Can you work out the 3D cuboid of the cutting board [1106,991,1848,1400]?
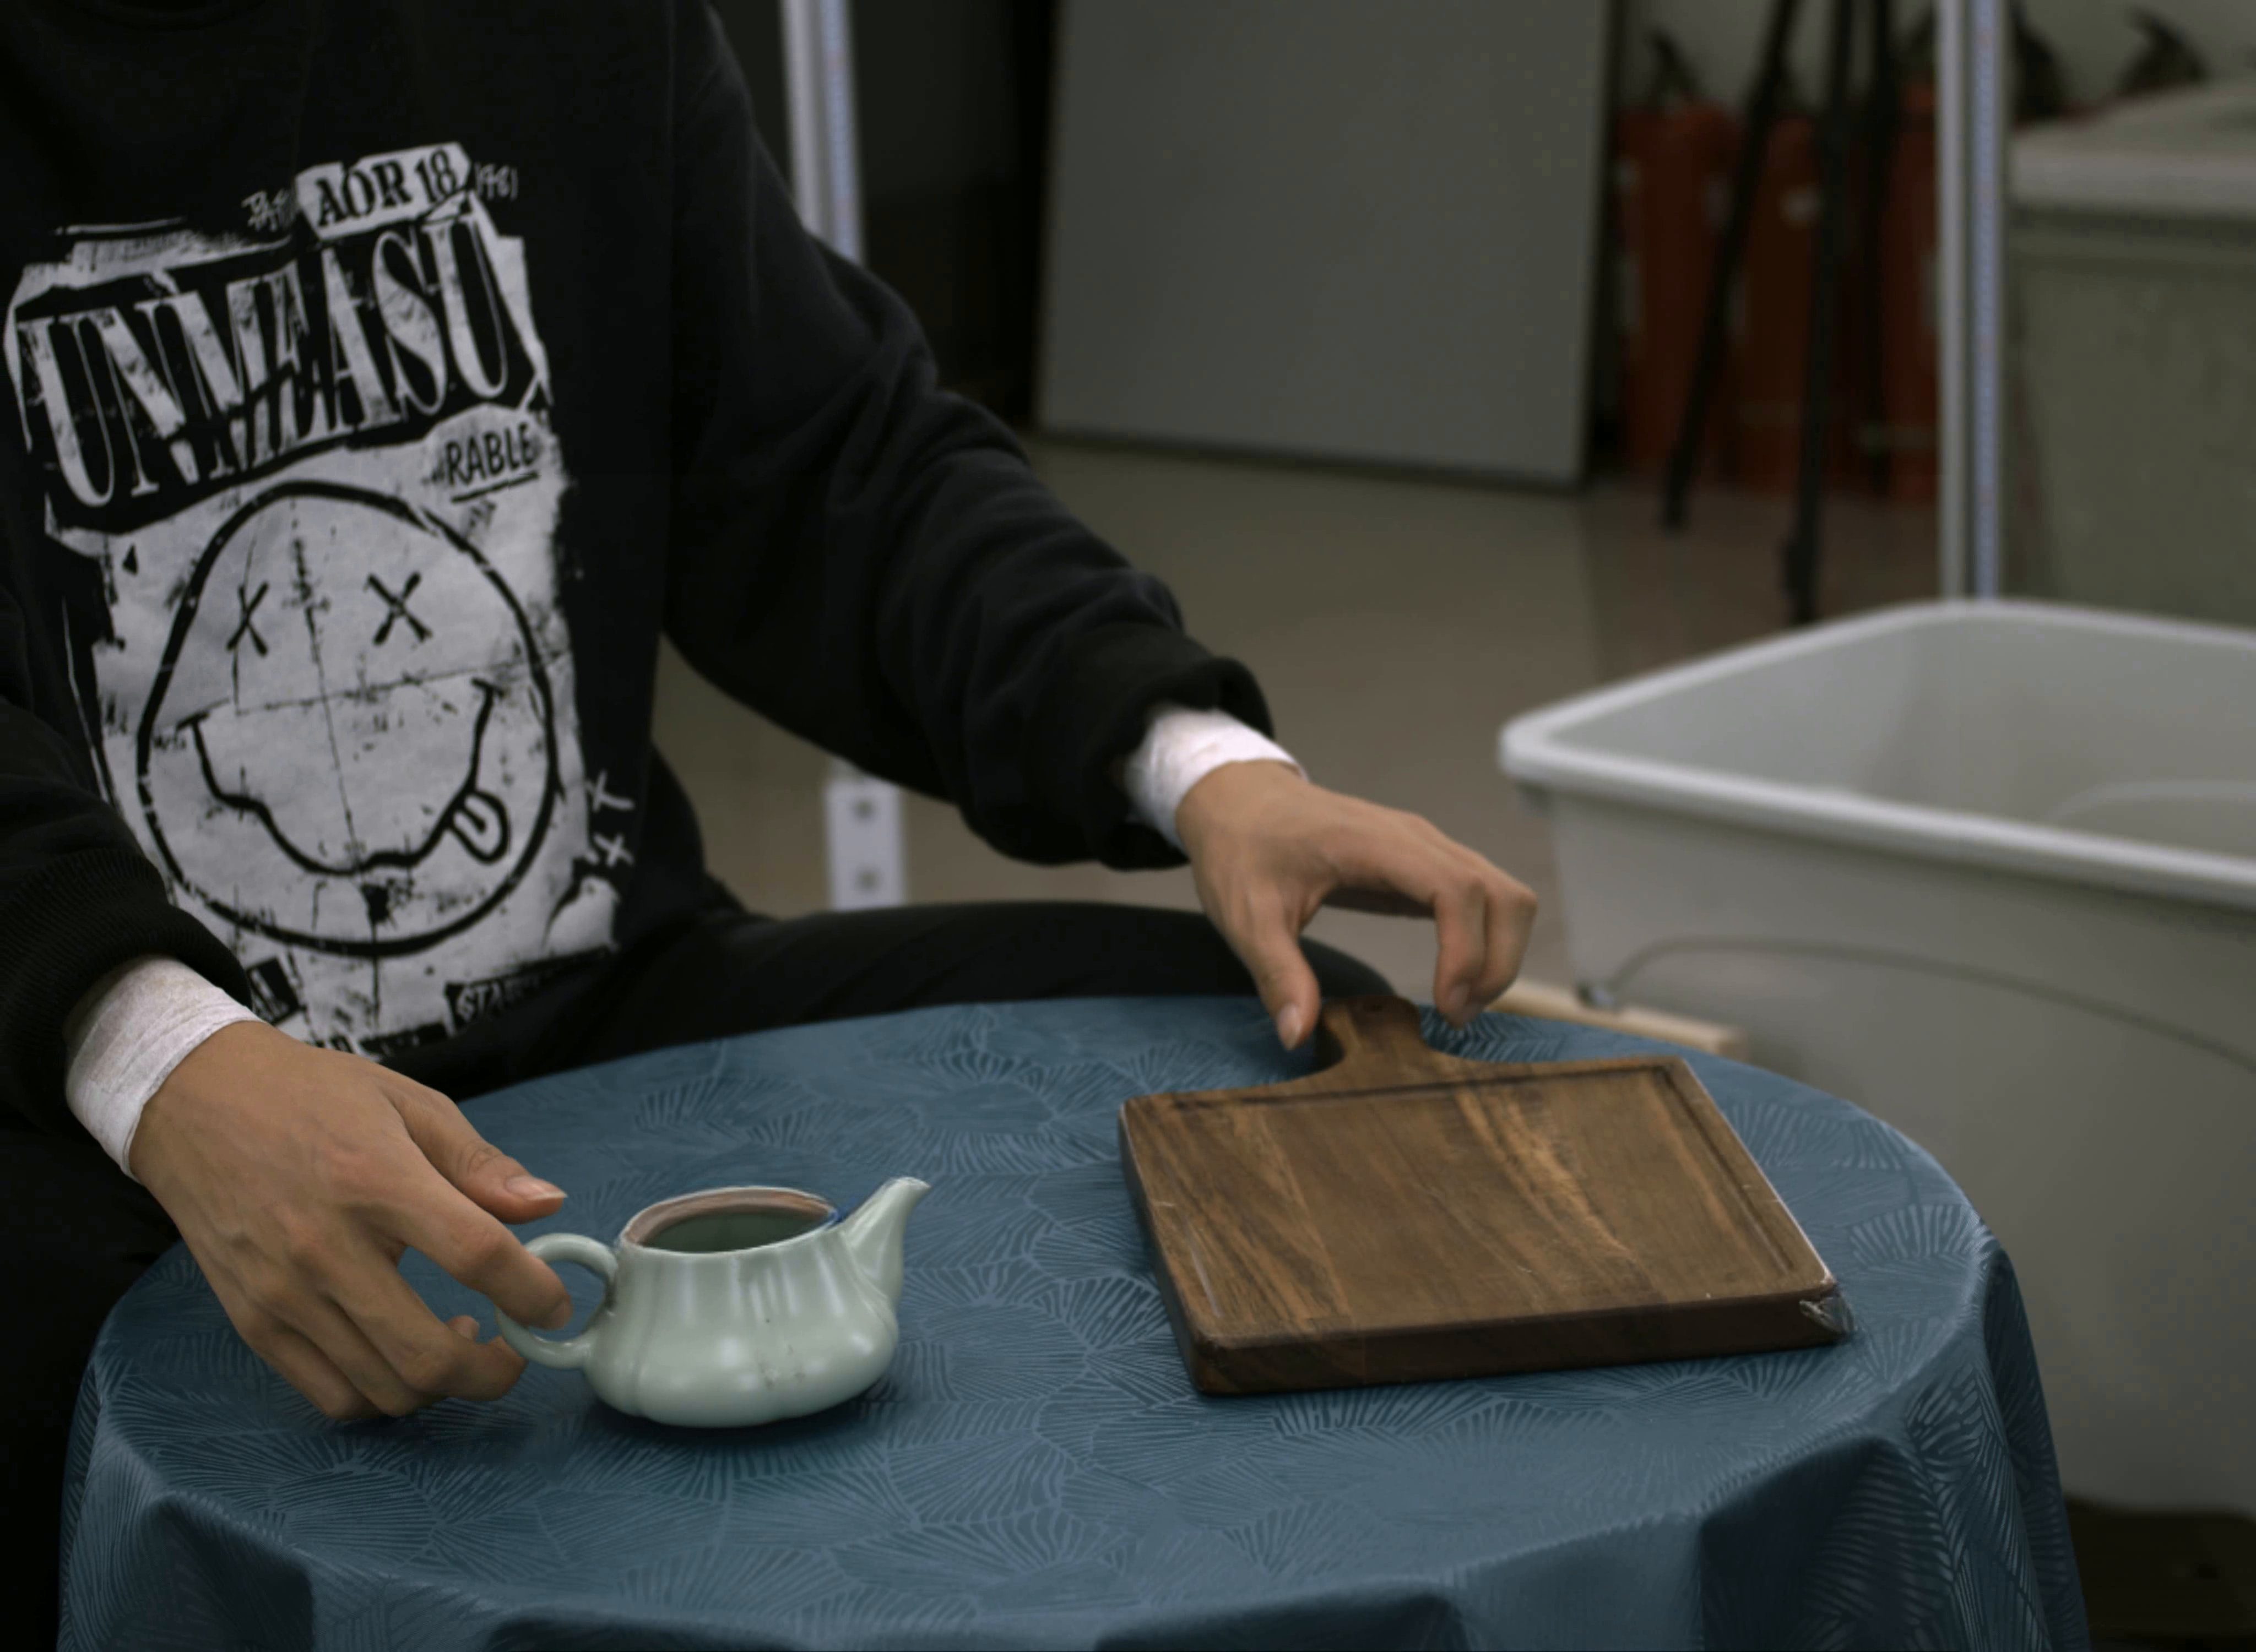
[{"bbox_3d":[0.098,0.110,1.744,0.198,0.023,0.353,-5,14,-5],"label":"cutting board"}]

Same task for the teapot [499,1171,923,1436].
[{"bbox_3d":[-0.120,0.143,1.598,0.134,0.062,0.097,-10,16,-22],"label":"teapot"}]
